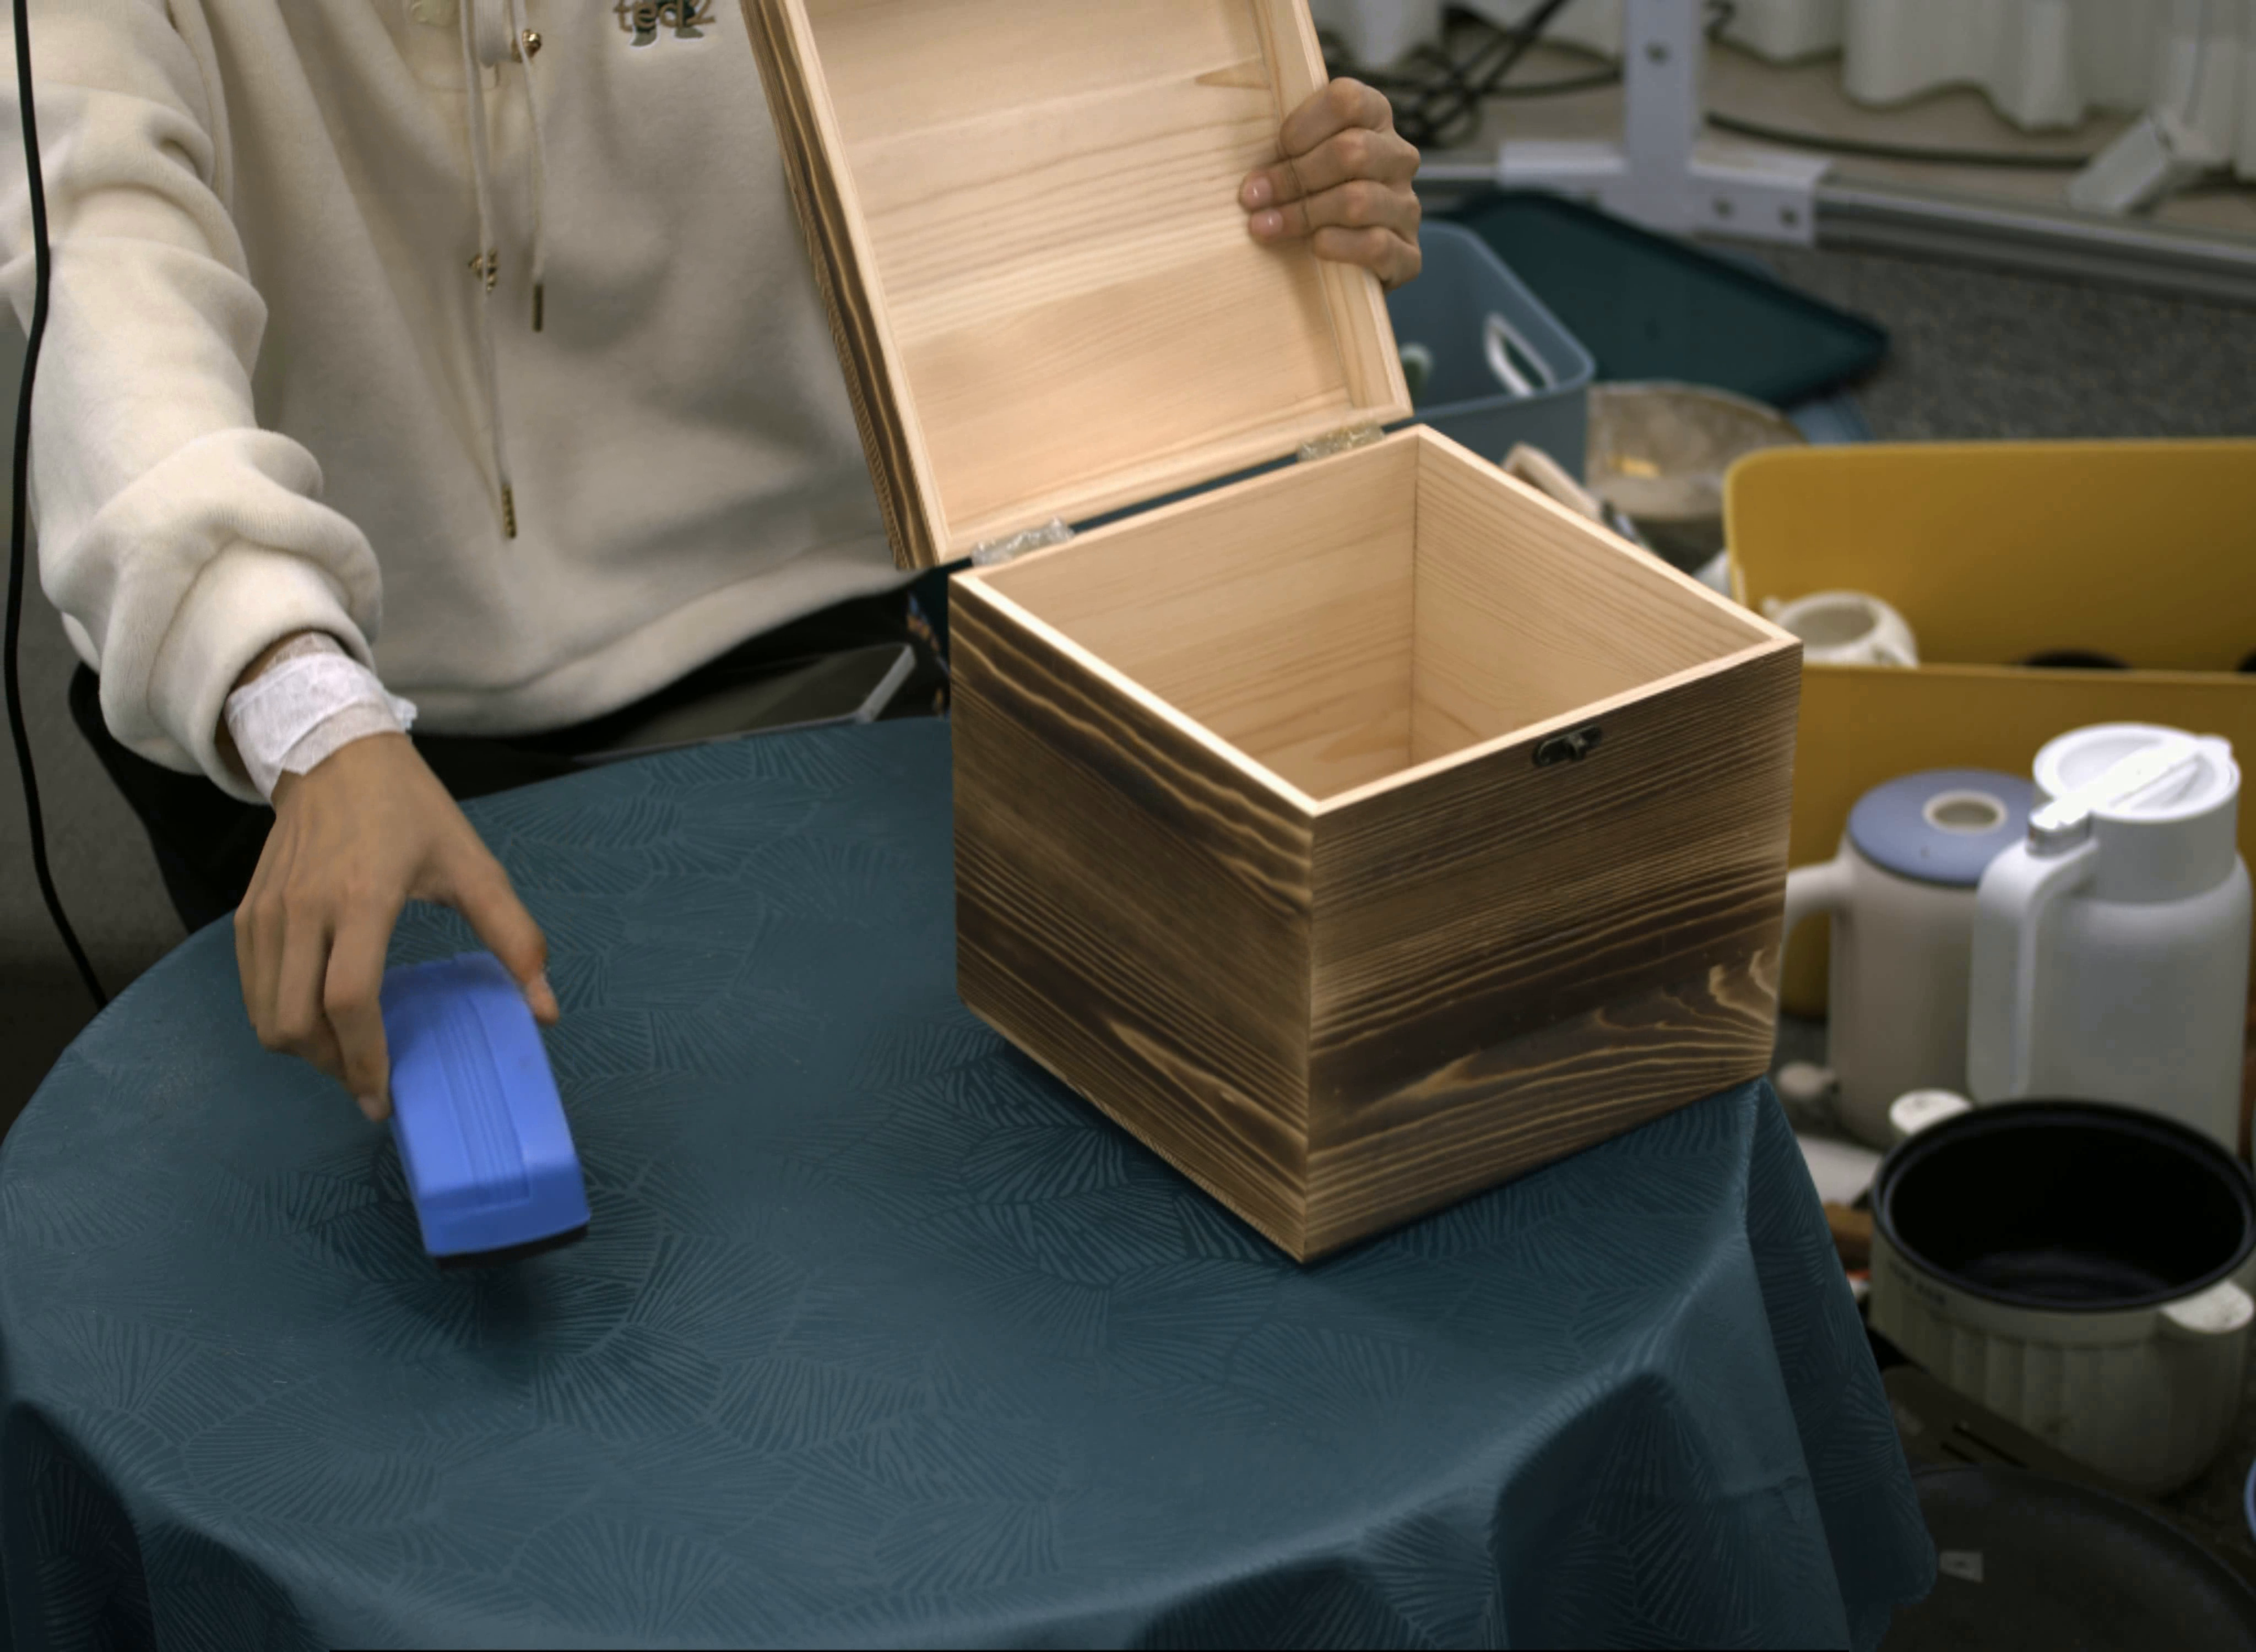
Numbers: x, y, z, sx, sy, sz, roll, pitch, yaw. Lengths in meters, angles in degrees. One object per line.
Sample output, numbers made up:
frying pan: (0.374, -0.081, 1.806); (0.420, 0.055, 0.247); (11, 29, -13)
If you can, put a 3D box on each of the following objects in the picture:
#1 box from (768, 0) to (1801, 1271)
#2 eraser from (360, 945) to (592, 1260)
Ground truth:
box: (0.048, -0.104, 1.881); (0.210, 0.371, 0.323); (-19, 33, -31)
eraser: (-0.216, 0.084, 1.840); (0.054, 0.047, 0.164); (-12, 26, -11)
